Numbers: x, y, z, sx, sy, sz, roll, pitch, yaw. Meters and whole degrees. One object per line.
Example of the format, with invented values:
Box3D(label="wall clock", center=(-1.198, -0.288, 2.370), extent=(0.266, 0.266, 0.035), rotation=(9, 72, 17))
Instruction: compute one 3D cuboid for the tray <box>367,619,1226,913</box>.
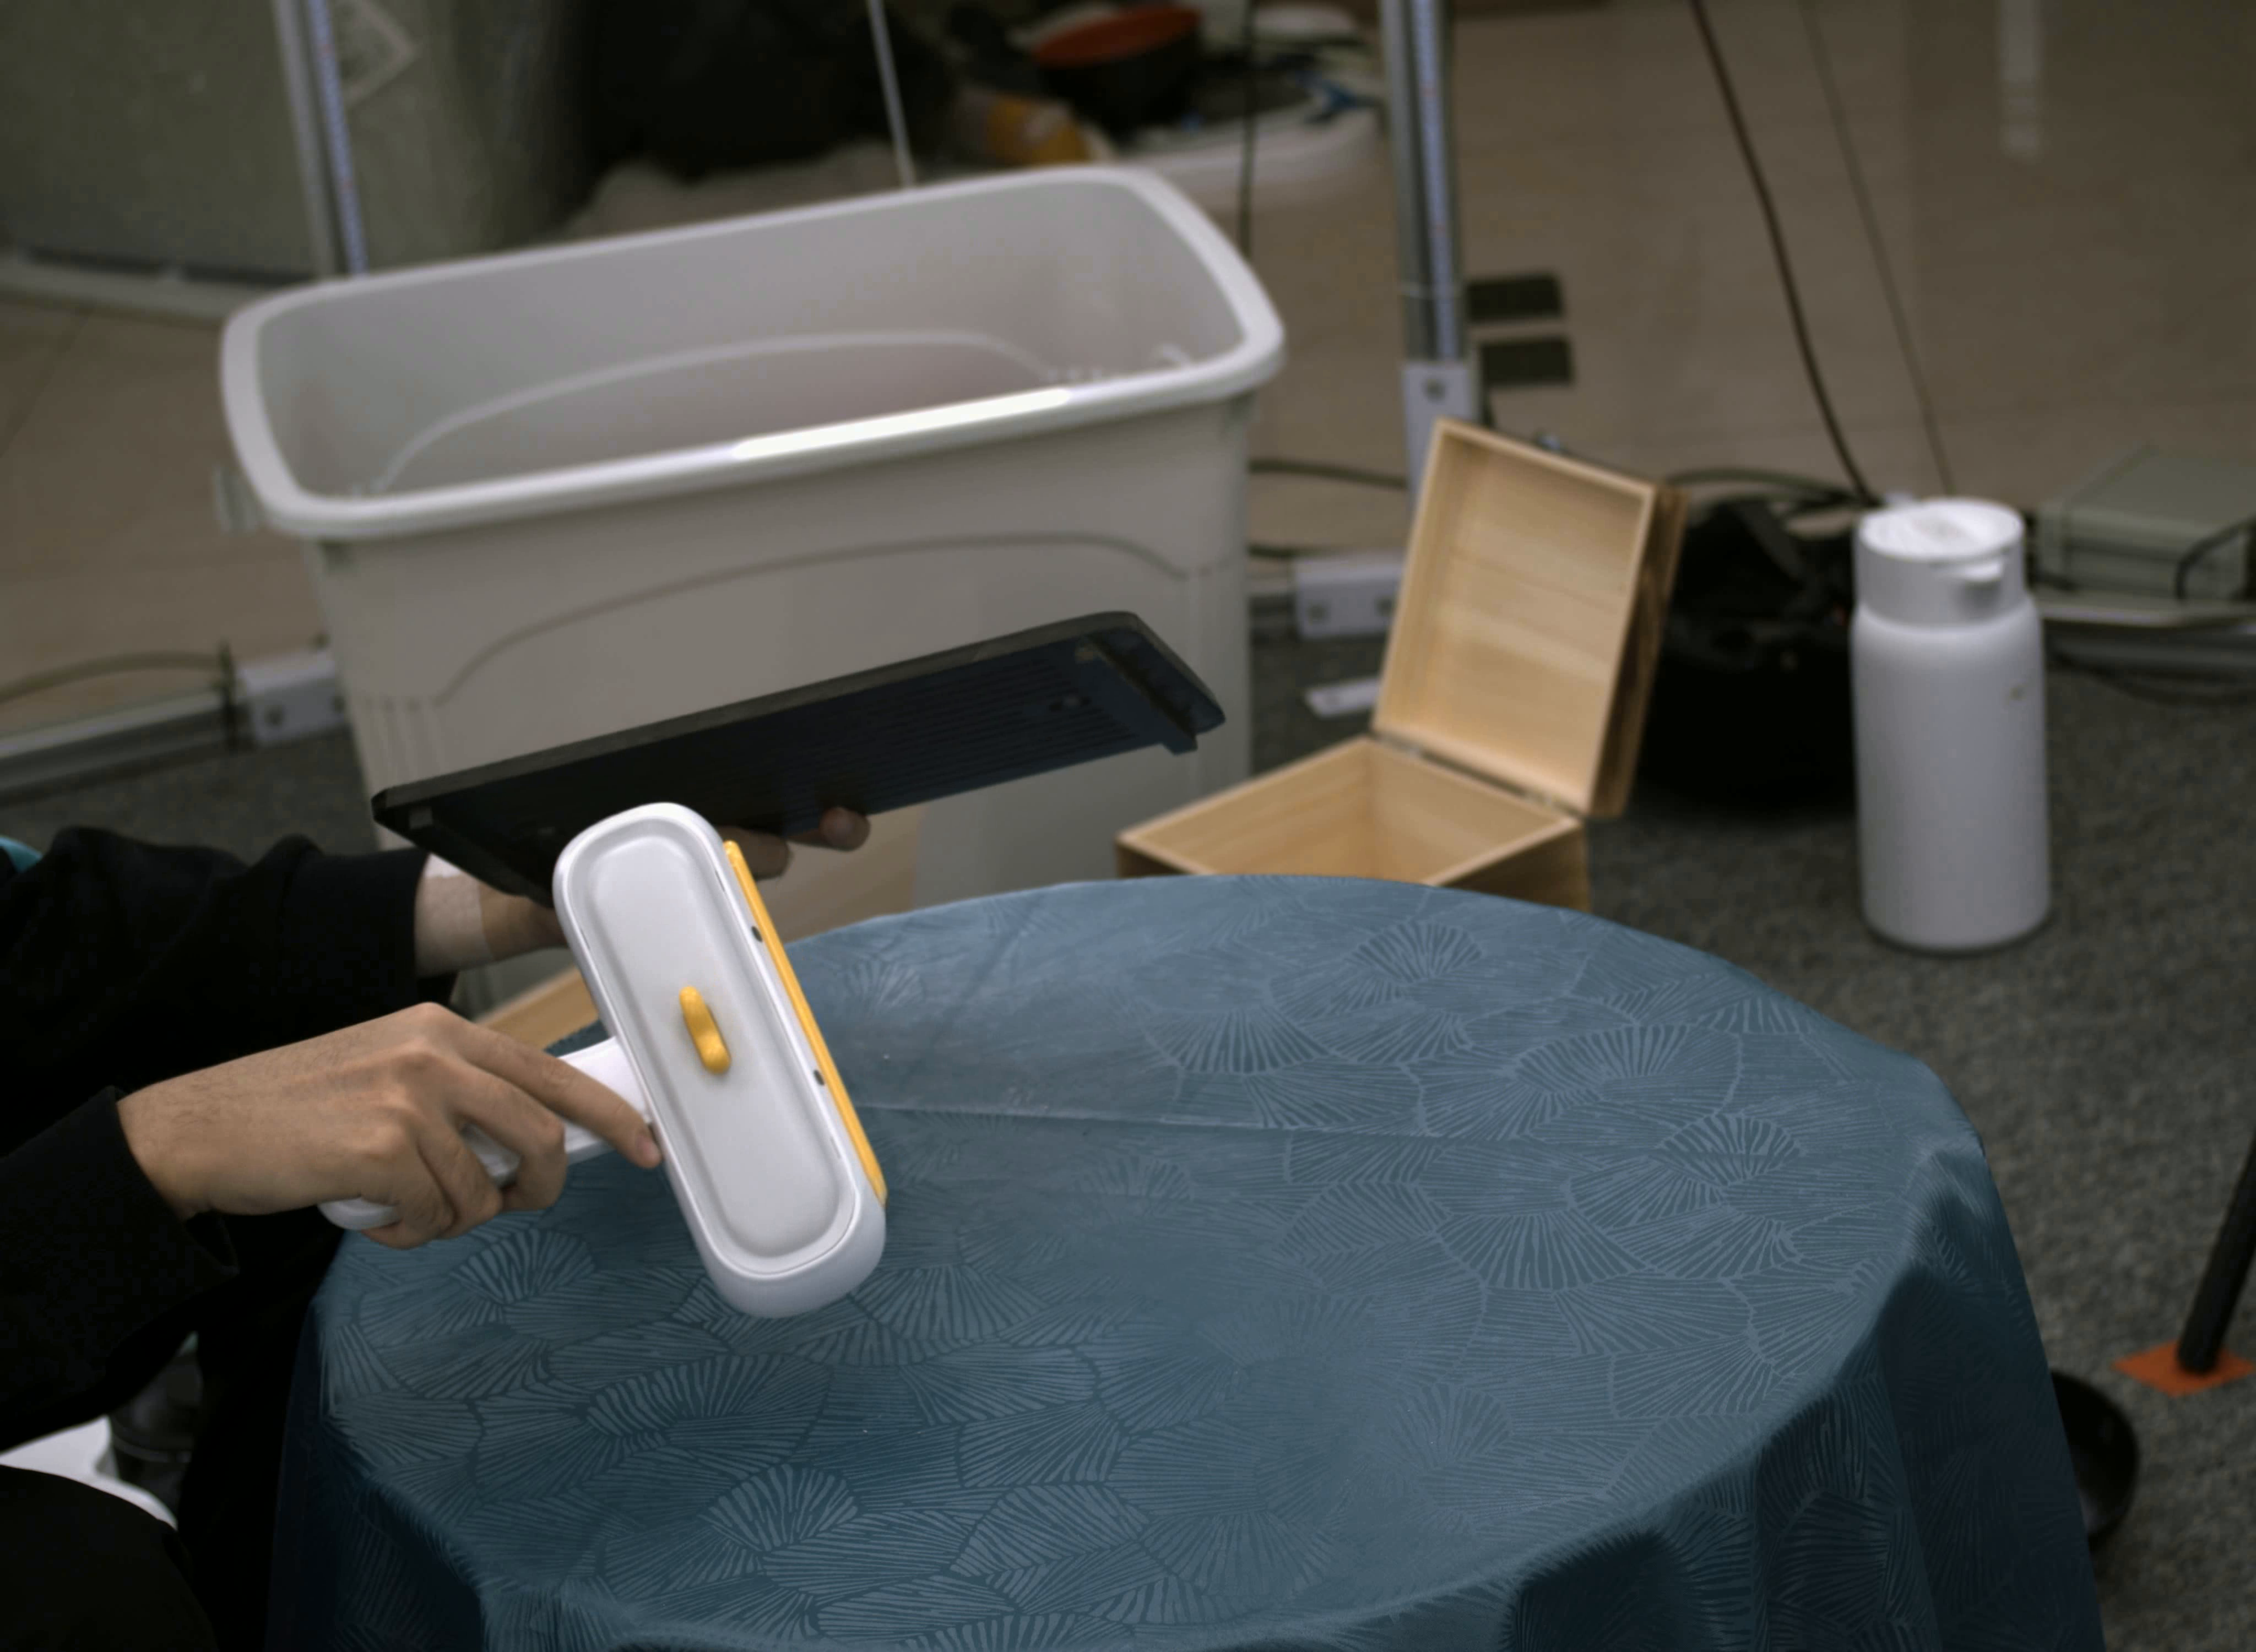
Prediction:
Box3D(label="tray", center=(-0.124, -0.019, 2.180), extent=(0.306, 0.018, 0.171), rotation=(-13, -15, 12))

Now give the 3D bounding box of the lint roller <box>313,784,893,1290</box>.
Box3D(label="lint roller", center=(-0.198, 0.097, 1.999), extent=(0.191, 0.192, 0.075), rotation=(-26, -9, -14))
